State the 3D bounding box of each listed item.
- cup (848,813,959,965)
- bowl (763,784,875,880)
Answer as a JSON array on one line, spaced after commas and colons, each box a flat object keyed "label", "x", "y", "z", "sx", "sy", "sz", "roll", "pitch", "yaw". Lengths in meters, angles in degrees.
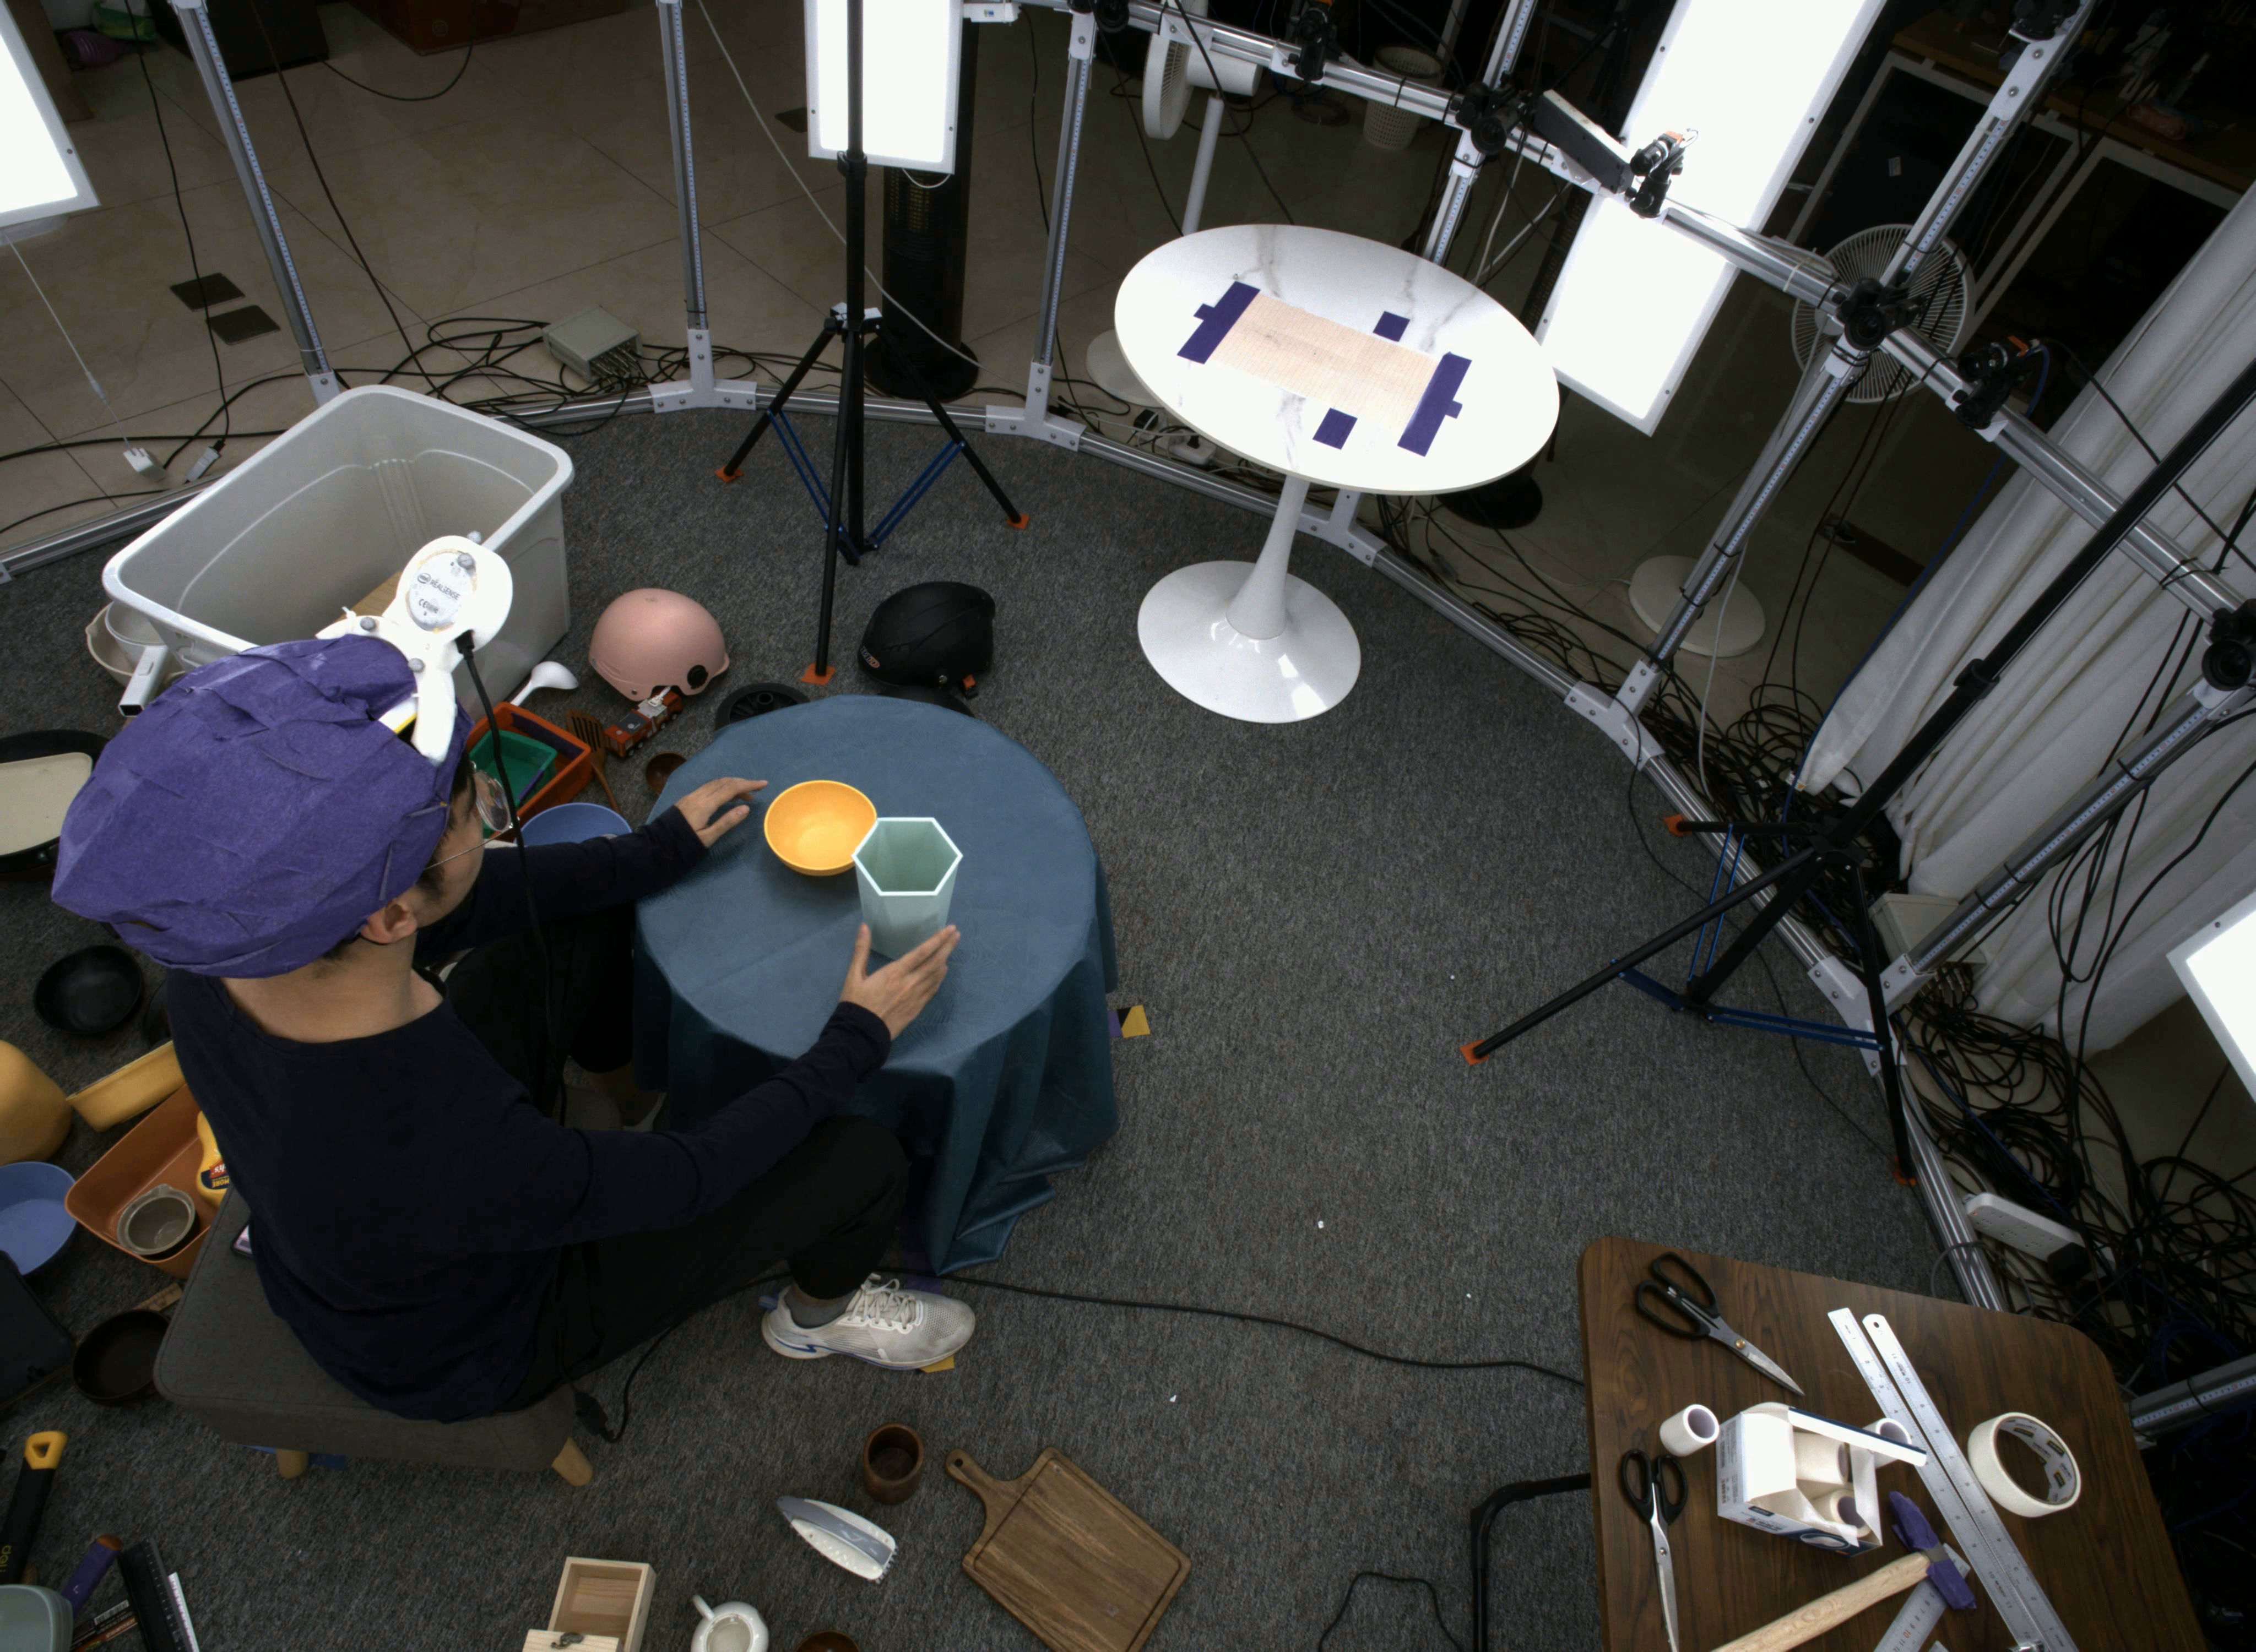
[{"label": "cup", "x": -0.274, "y": 0.080, "z": 1.597, "sx": 0.115, "sy": 0.166, "sz": 0.127, "roll": -29, "pitch": 63, "yaw": -28}, {"label": "bowl", "x": -0.398, "y": 0.018, "z": 1.685, "sx": 0.144, "sy": 0.061, "sz": 0.143, "roll": 6, "pitch": 53, "yaw": -6}]
